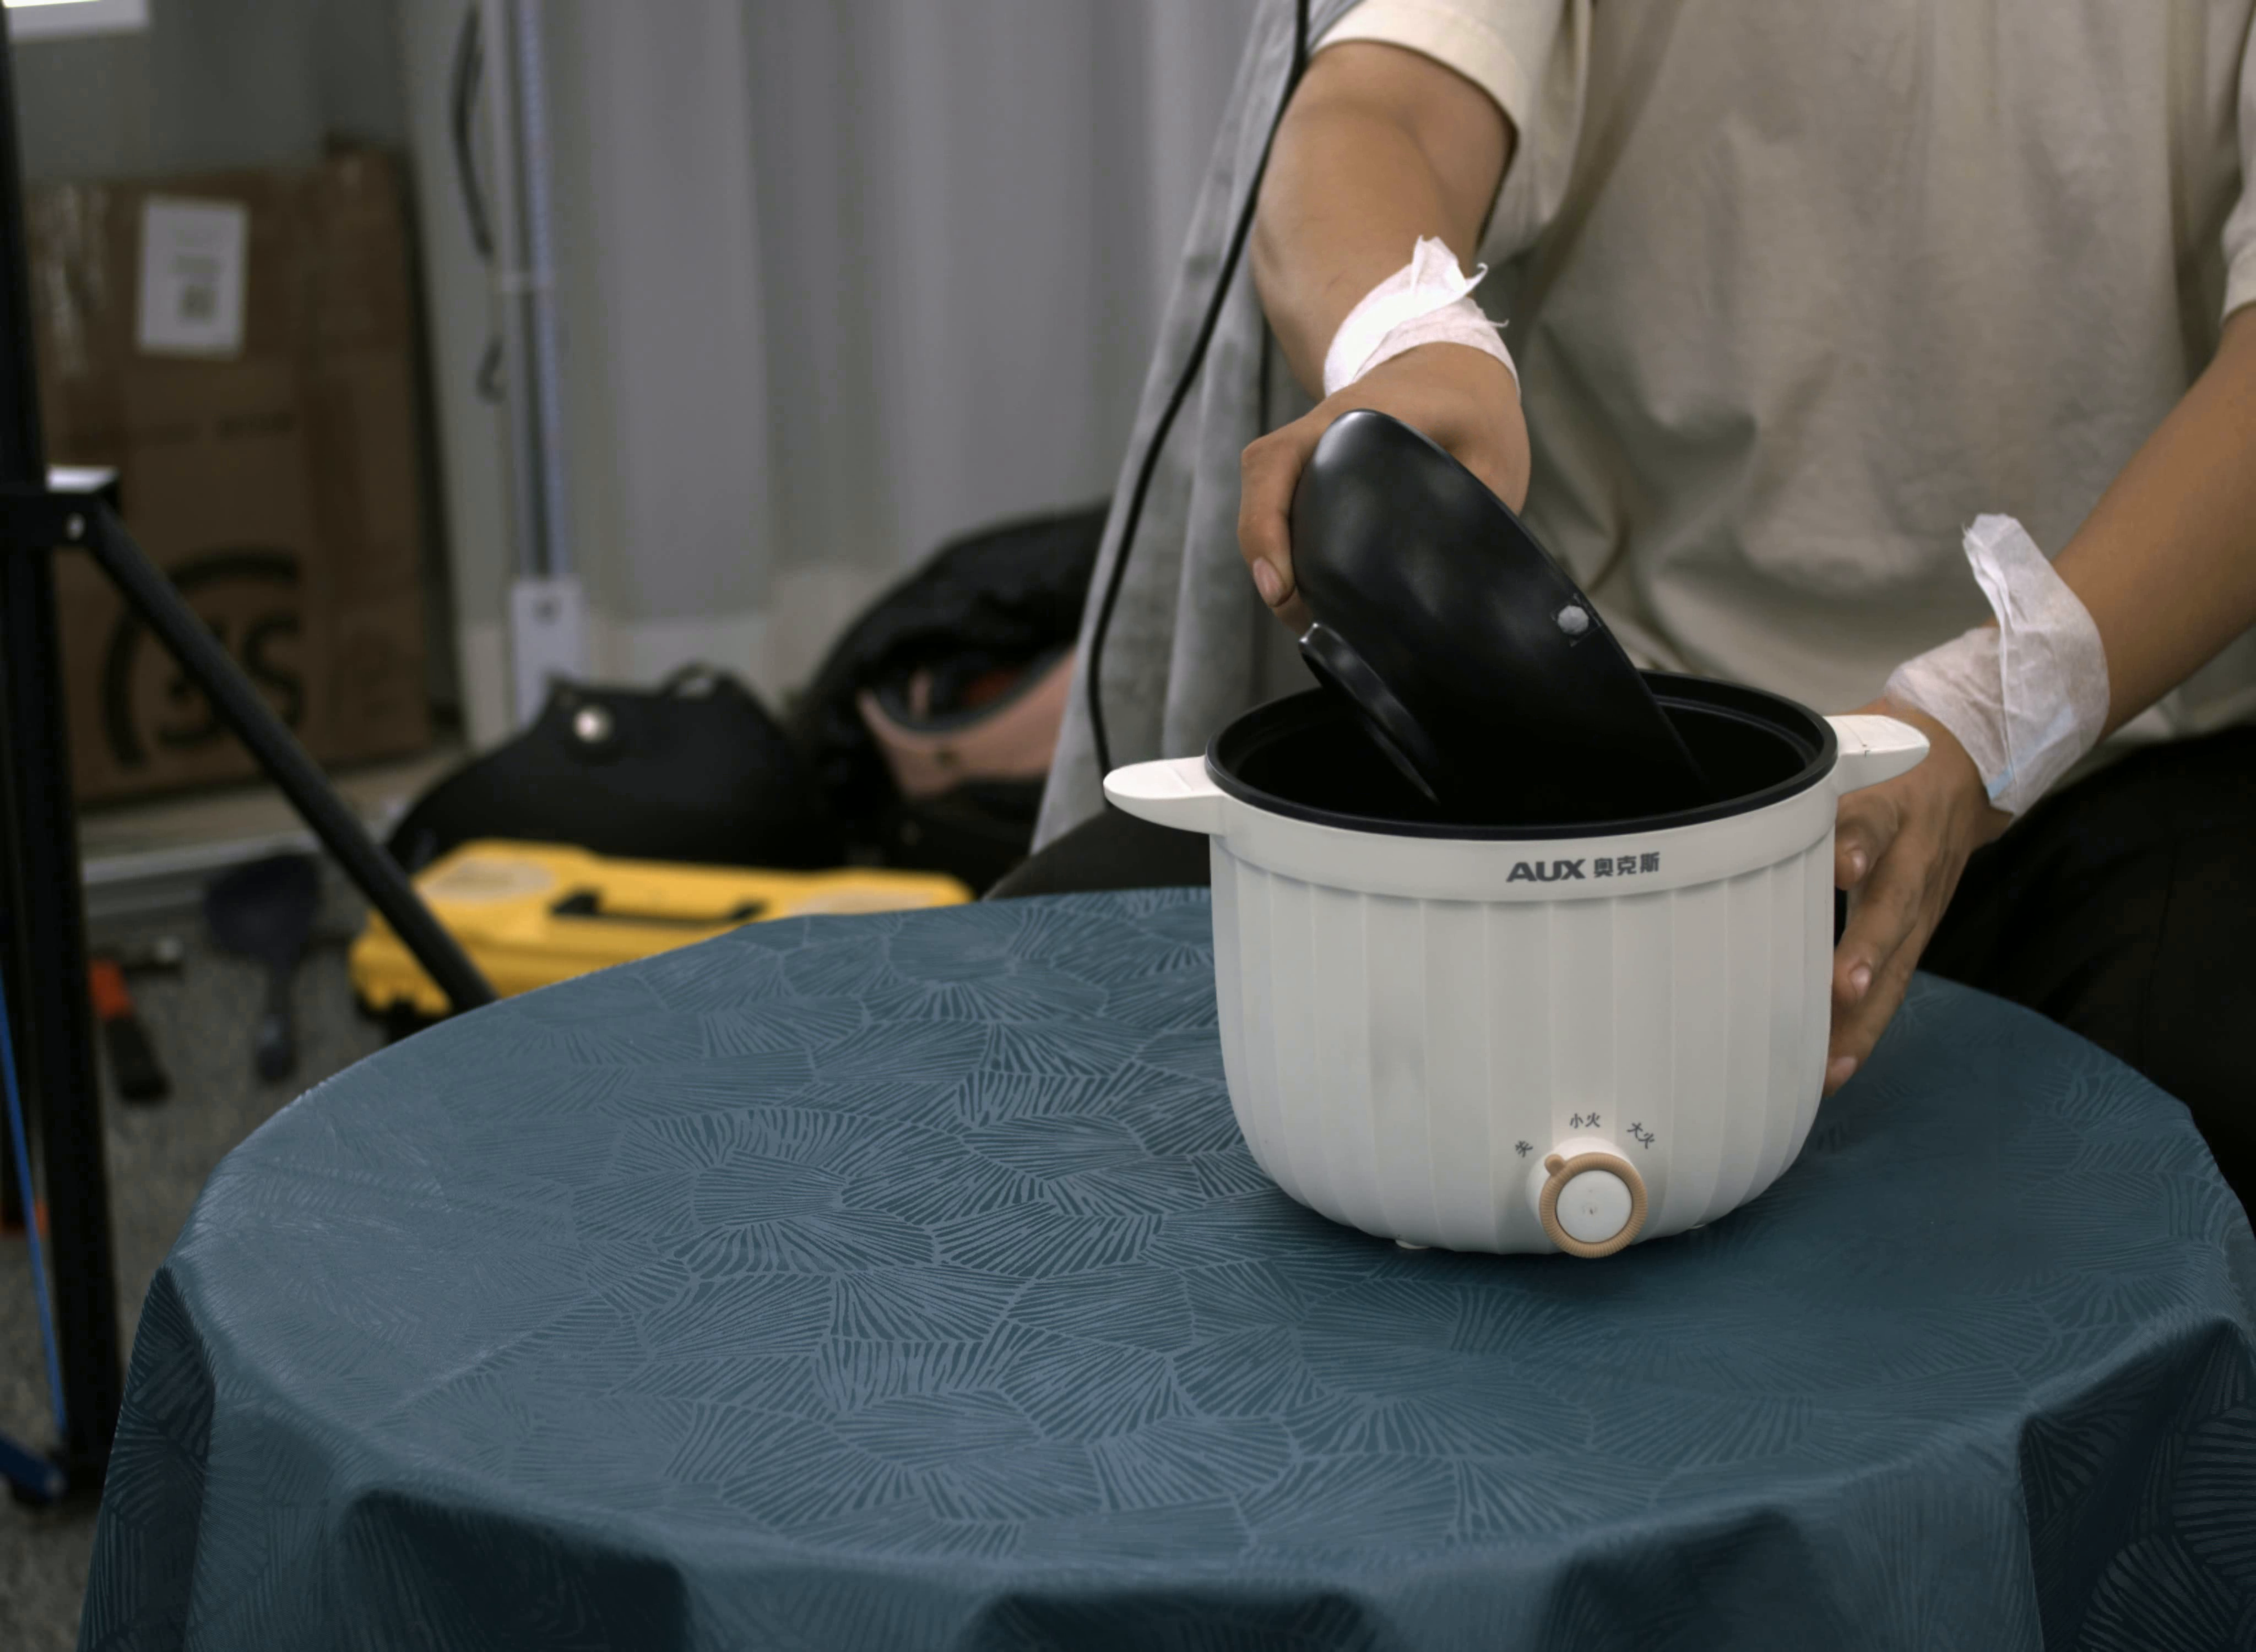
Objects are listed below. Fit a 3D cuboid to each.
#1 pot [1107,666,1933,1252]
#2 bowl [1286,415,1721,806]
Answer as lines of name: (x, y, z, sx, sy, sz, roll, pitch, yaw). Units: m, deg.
pot: (0.116, 0.040, 1.522, 0.238, 0.143, 0.192, -5, 12, -5)
bowl: (0.094, -0.046, 1.516, 0.066, 0.134, 0.174, -42, 51, -3)
